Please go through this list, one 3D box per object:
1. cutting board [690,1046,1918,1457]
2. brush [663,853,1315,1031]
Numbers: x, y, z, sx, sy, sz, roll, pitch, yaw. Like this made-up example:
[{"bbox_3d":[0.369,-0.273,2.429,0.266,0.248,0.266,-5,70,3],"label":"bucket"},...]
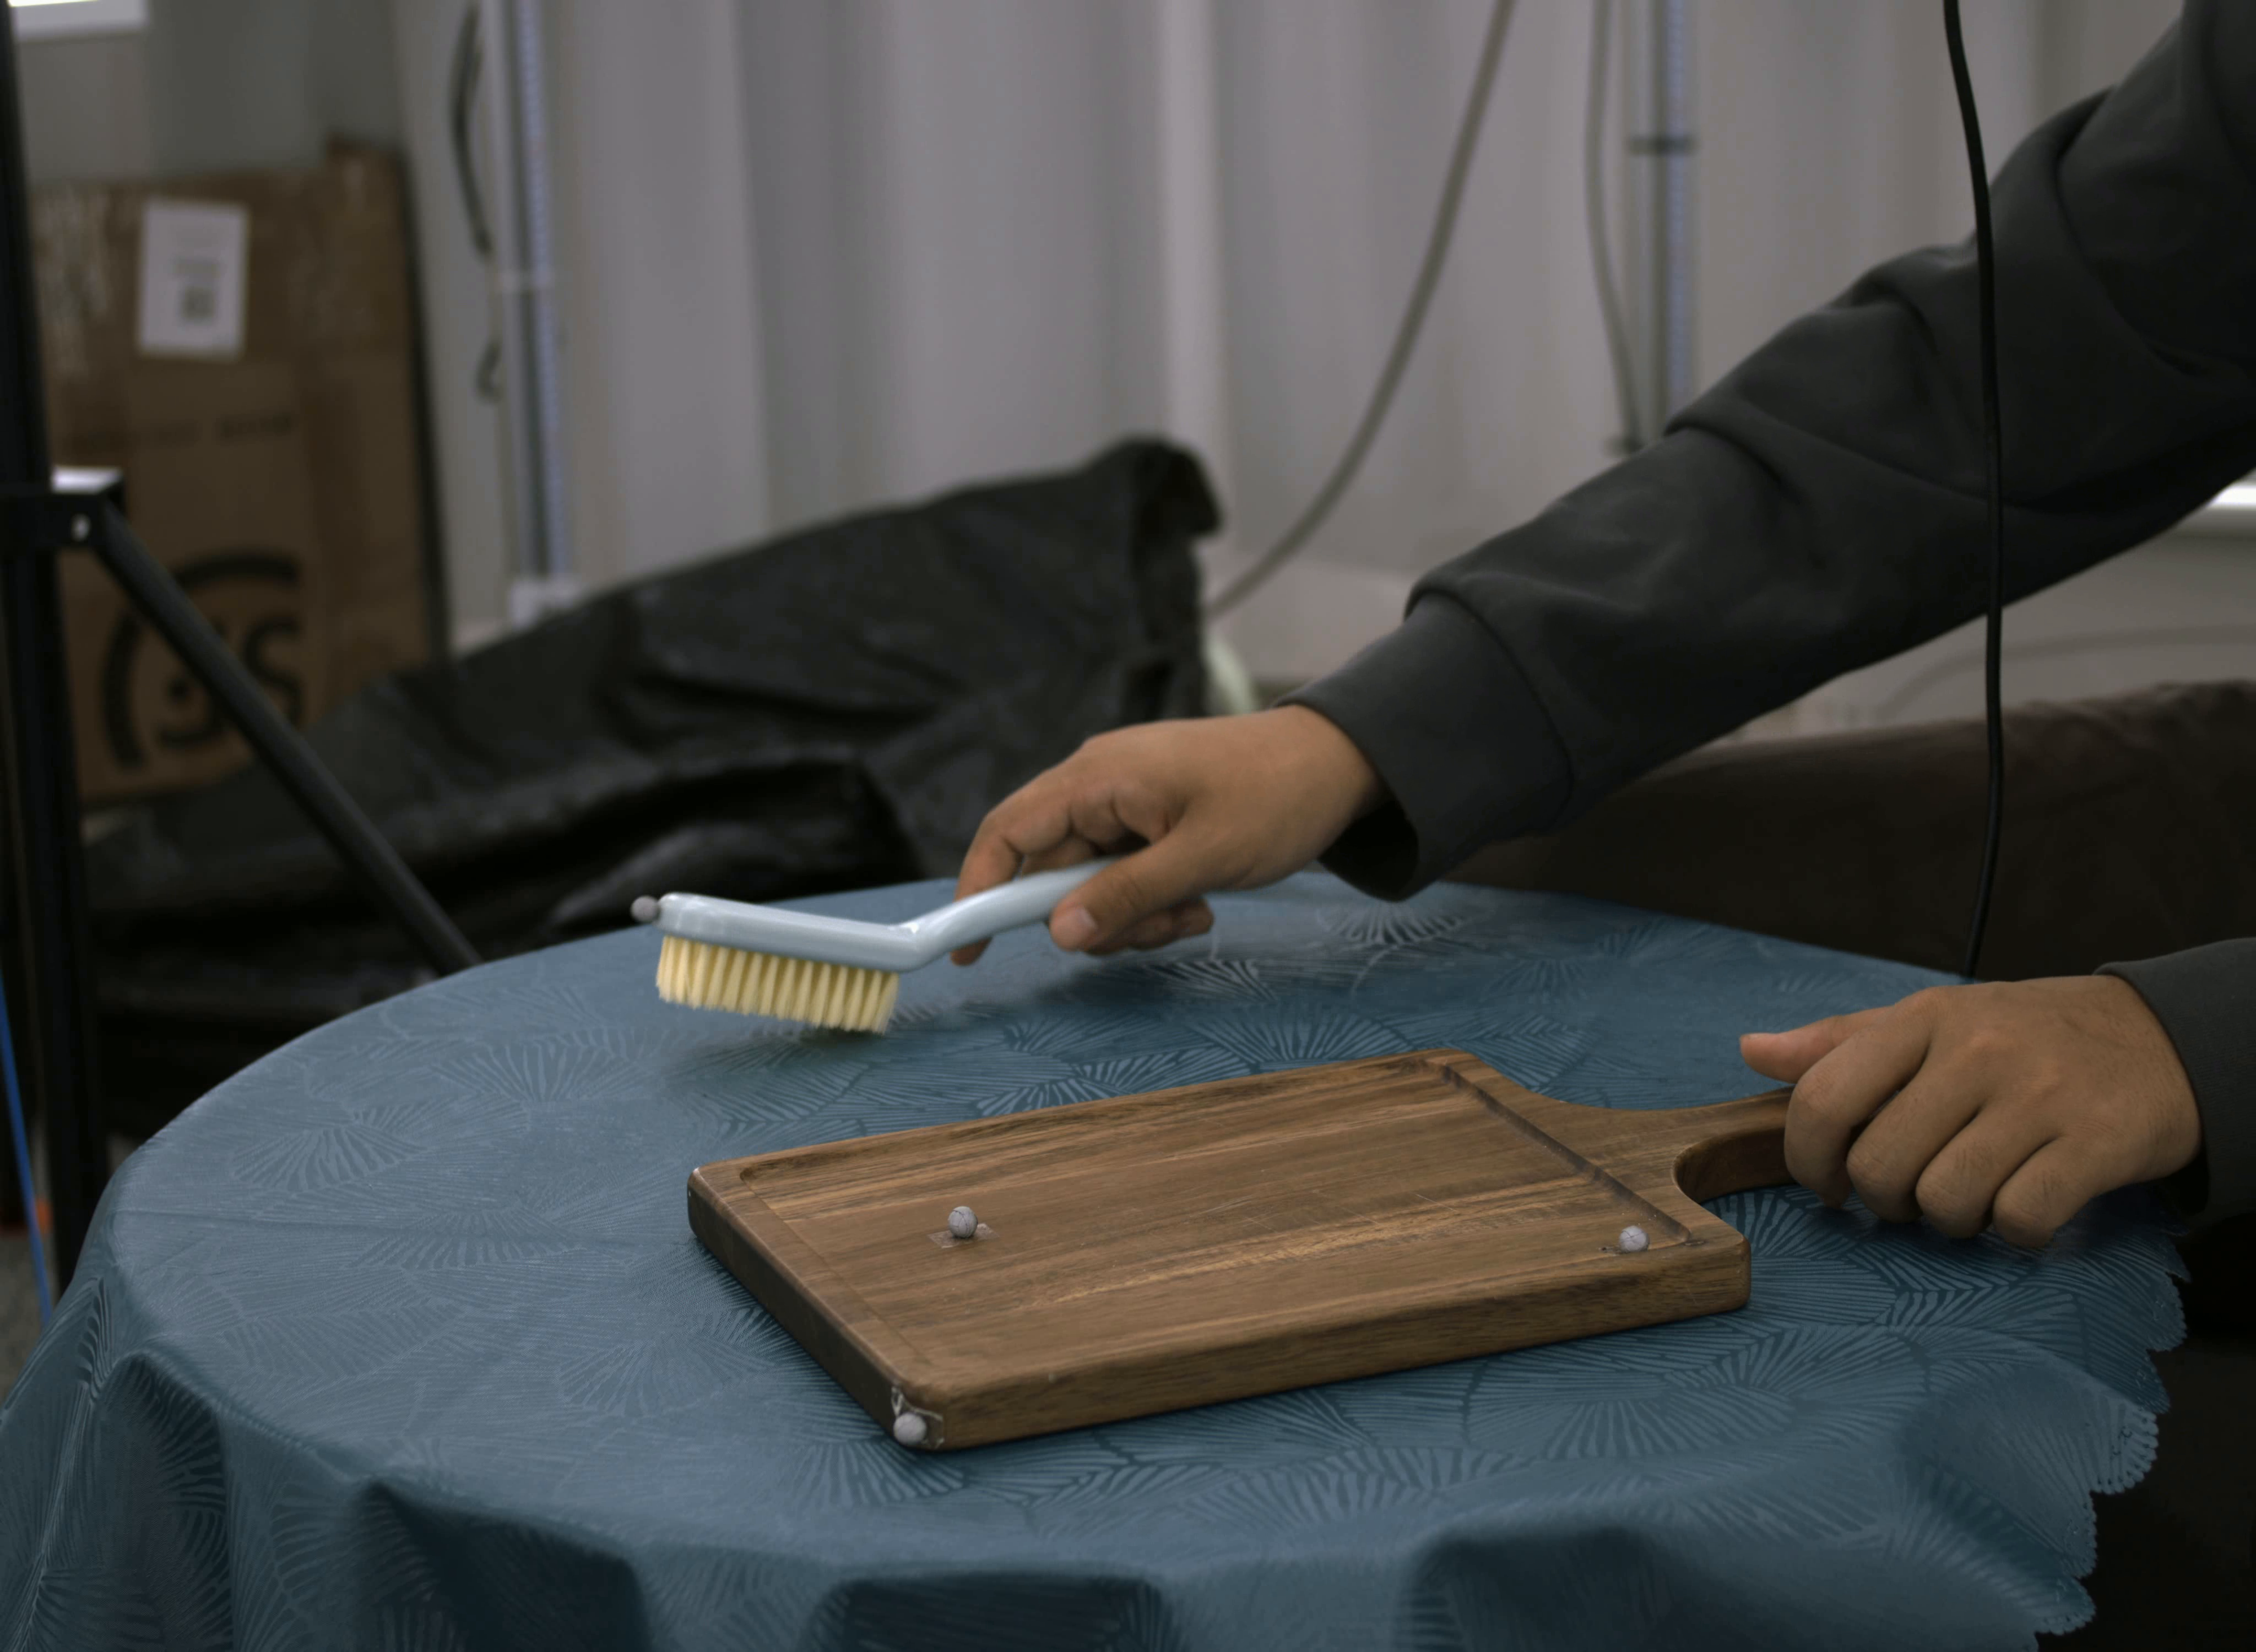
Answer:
[{"bbox_3d":[0.070,0.109,1.505,0.346,0.023,0.205,-8,17,-19],"label":"cutting board"},{"bbox_3d":[-0.043,0.038,1.731,0.224,0.050,0.038,-5,8,-24],"label":"brush"}]
